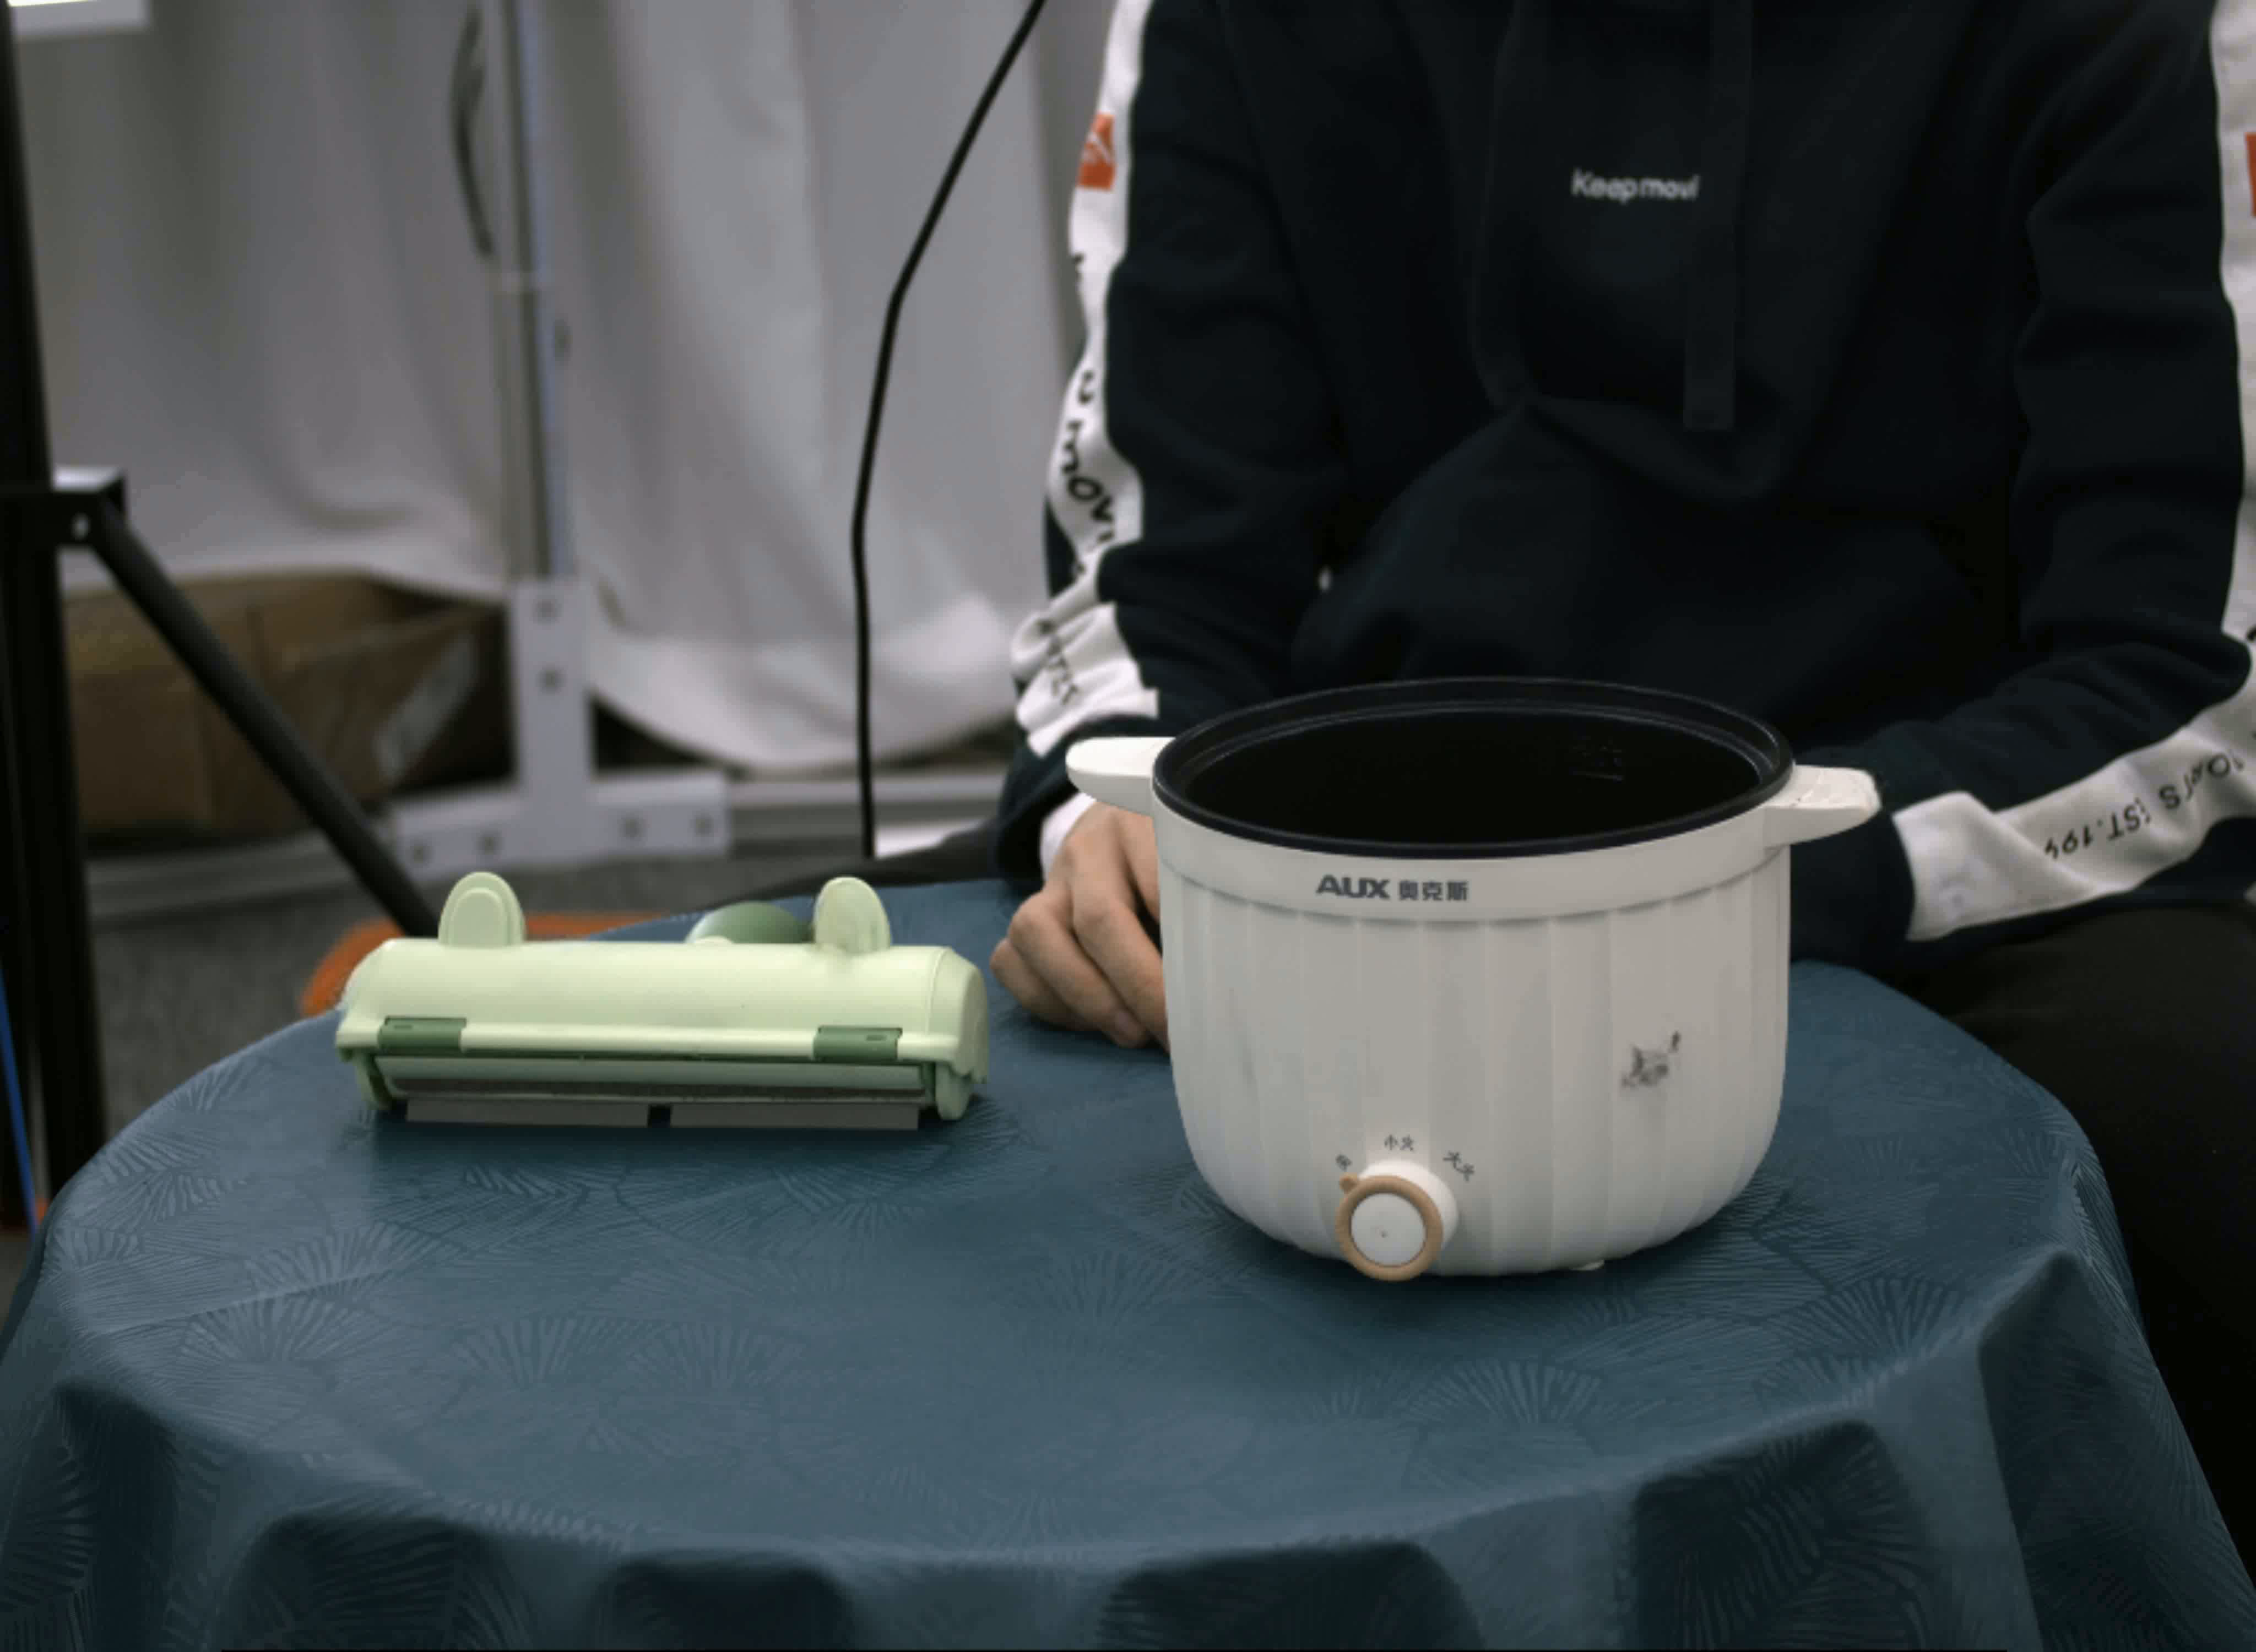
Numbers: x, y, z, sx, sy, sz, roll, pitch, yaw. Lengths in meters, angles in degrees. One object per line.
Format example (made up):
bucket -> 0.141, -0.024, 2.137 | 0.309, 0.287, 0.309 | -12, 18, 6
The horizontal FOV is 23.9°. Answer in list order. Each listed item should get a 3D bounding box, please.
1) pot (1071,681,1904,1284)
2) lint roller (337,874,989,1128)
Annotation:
pot -> 0.100, 0.047, 1.505 | 0.243, 0.143, 0.188 | 2, 13, 19
lint roller -> -0.134, 0.037, 1.694 | 0.199, 0.082, 0.183 | 0, 21, 11
